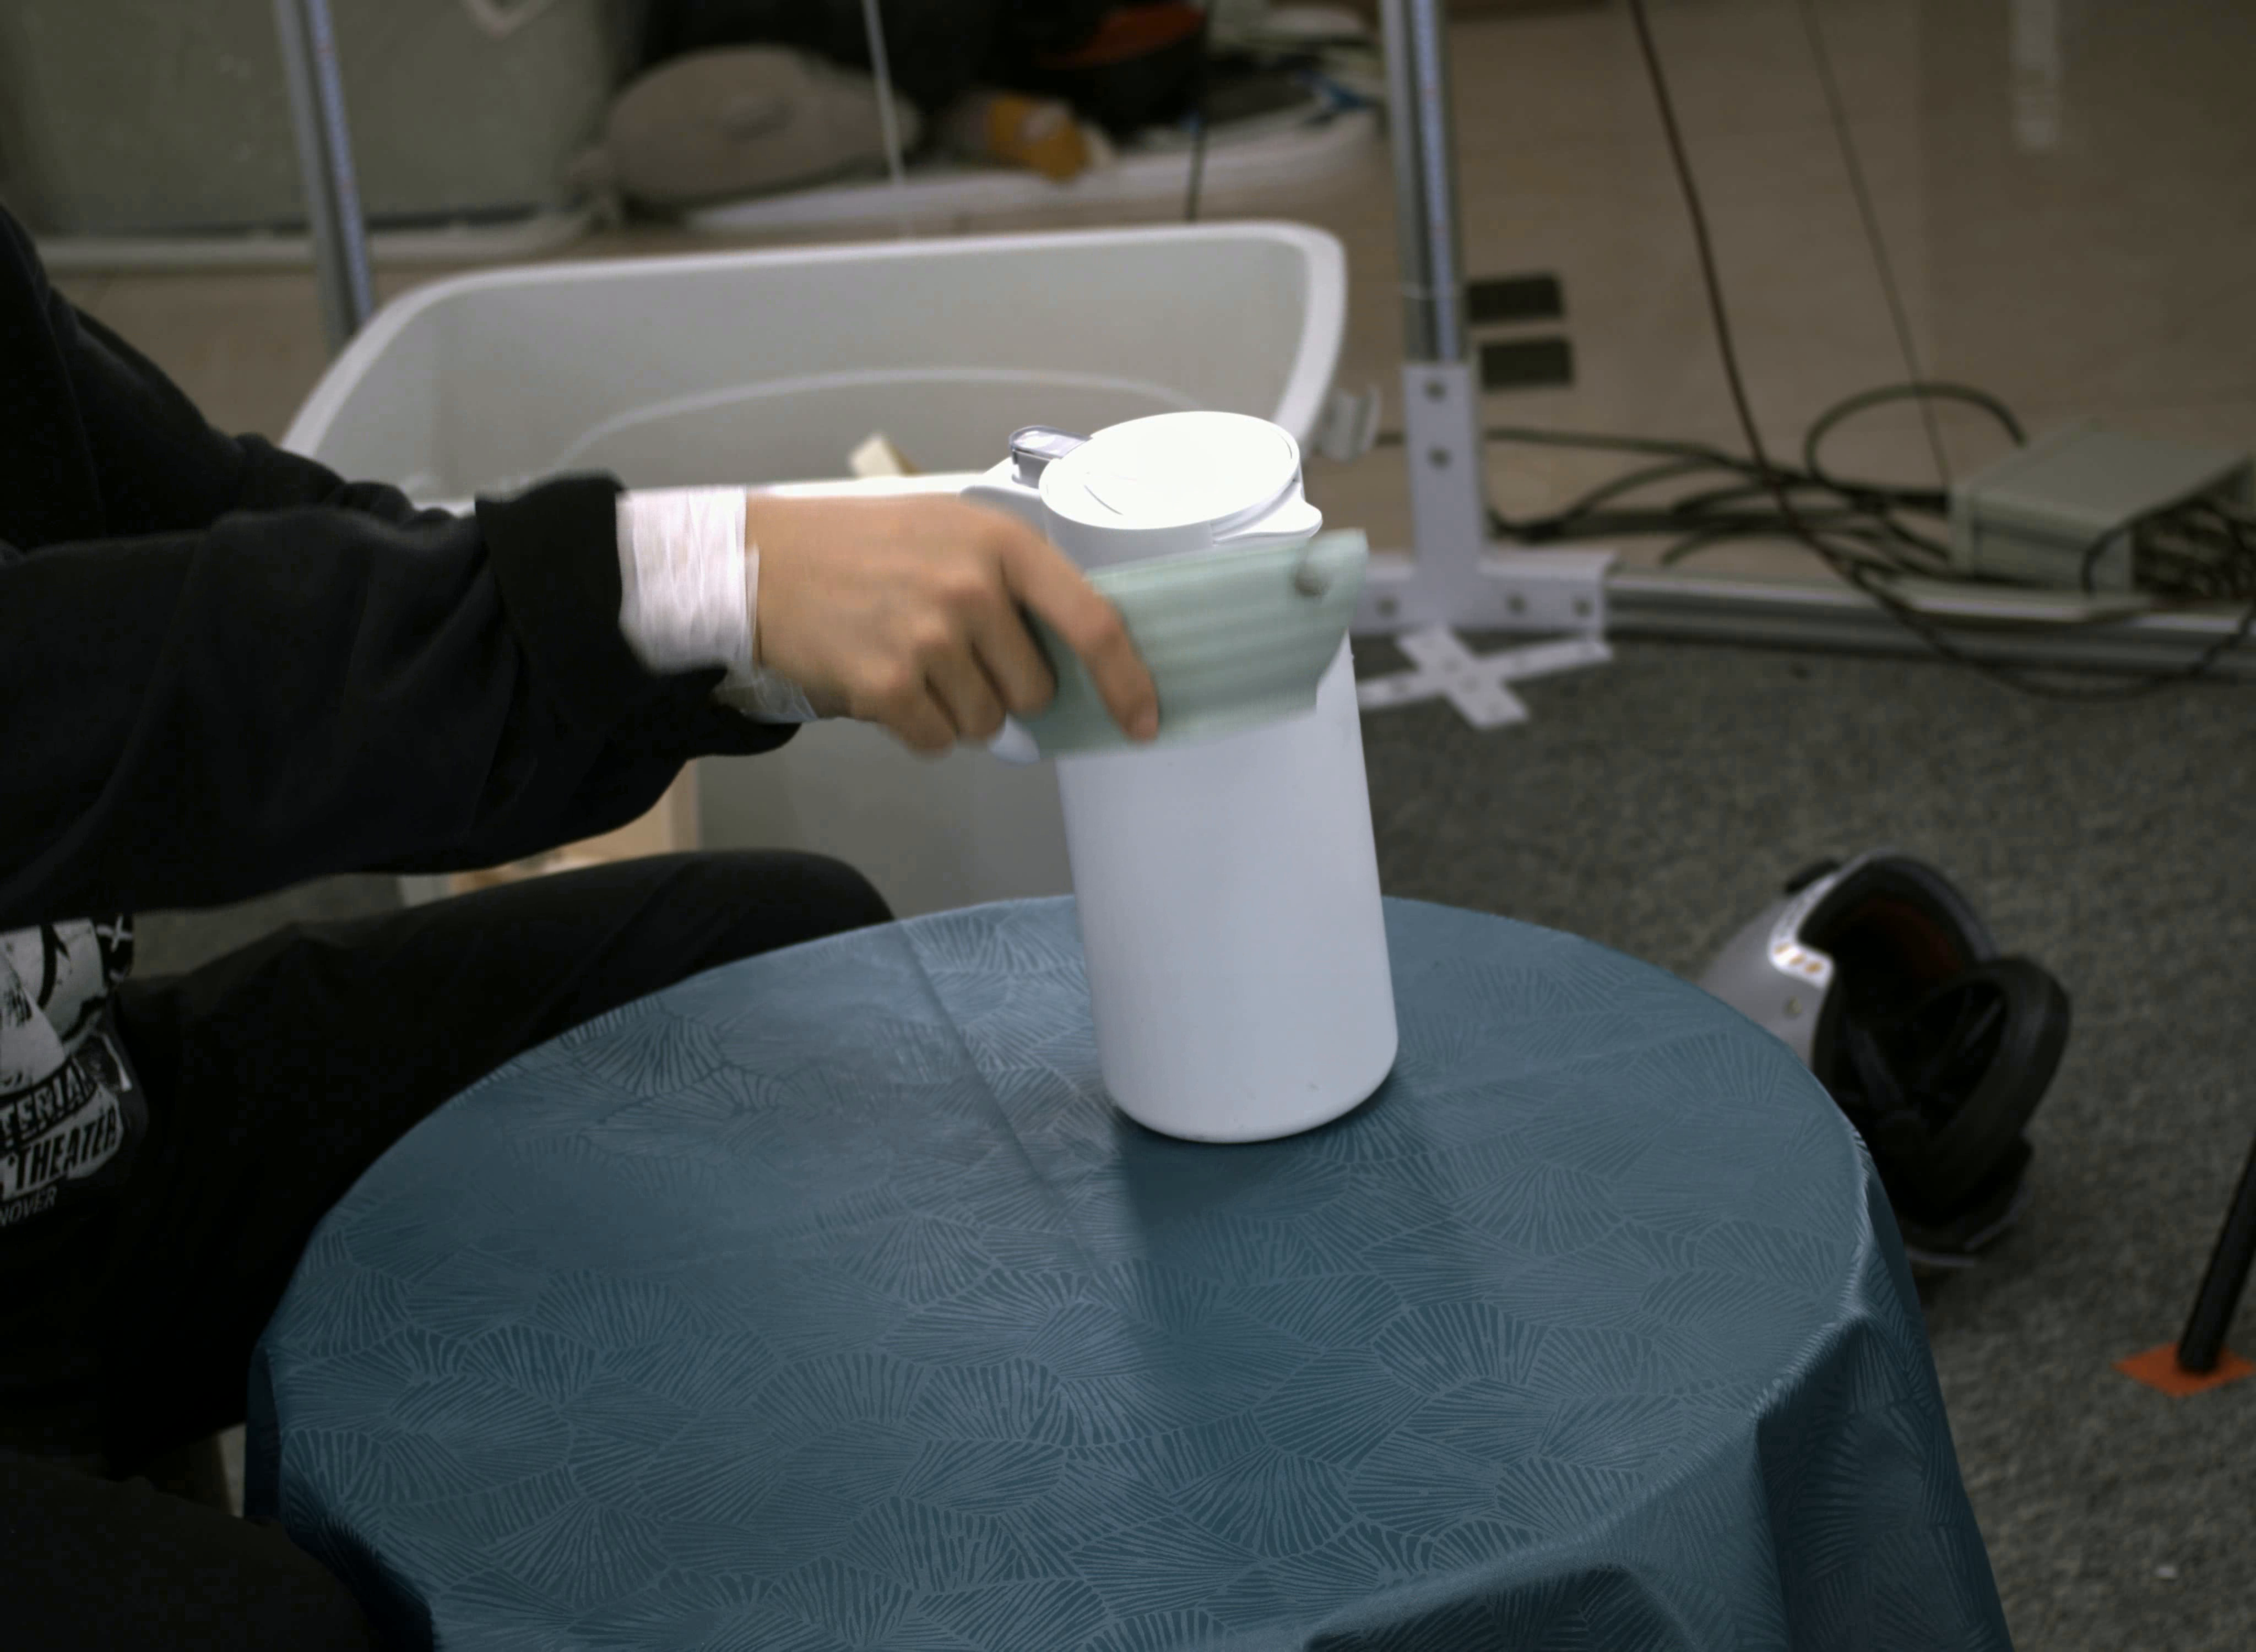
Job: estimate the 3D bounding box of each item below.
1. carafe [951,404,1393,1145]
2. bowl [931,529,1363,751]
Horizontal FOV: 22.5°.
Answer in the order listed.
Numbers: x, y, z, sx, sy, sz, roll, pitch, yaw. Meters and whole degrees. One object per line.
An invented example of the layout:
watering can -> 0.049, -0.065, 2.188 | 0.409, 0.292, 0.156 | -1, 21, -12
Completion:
carafe -> 0.017, -0.021, 2.160 | 0.171, 0.274, 0.122 | 16, 40, 35
bowl -> 0.011, -0.062, 1.954 | 0.151, 0.059, 0.151 | -10, 3, 1
